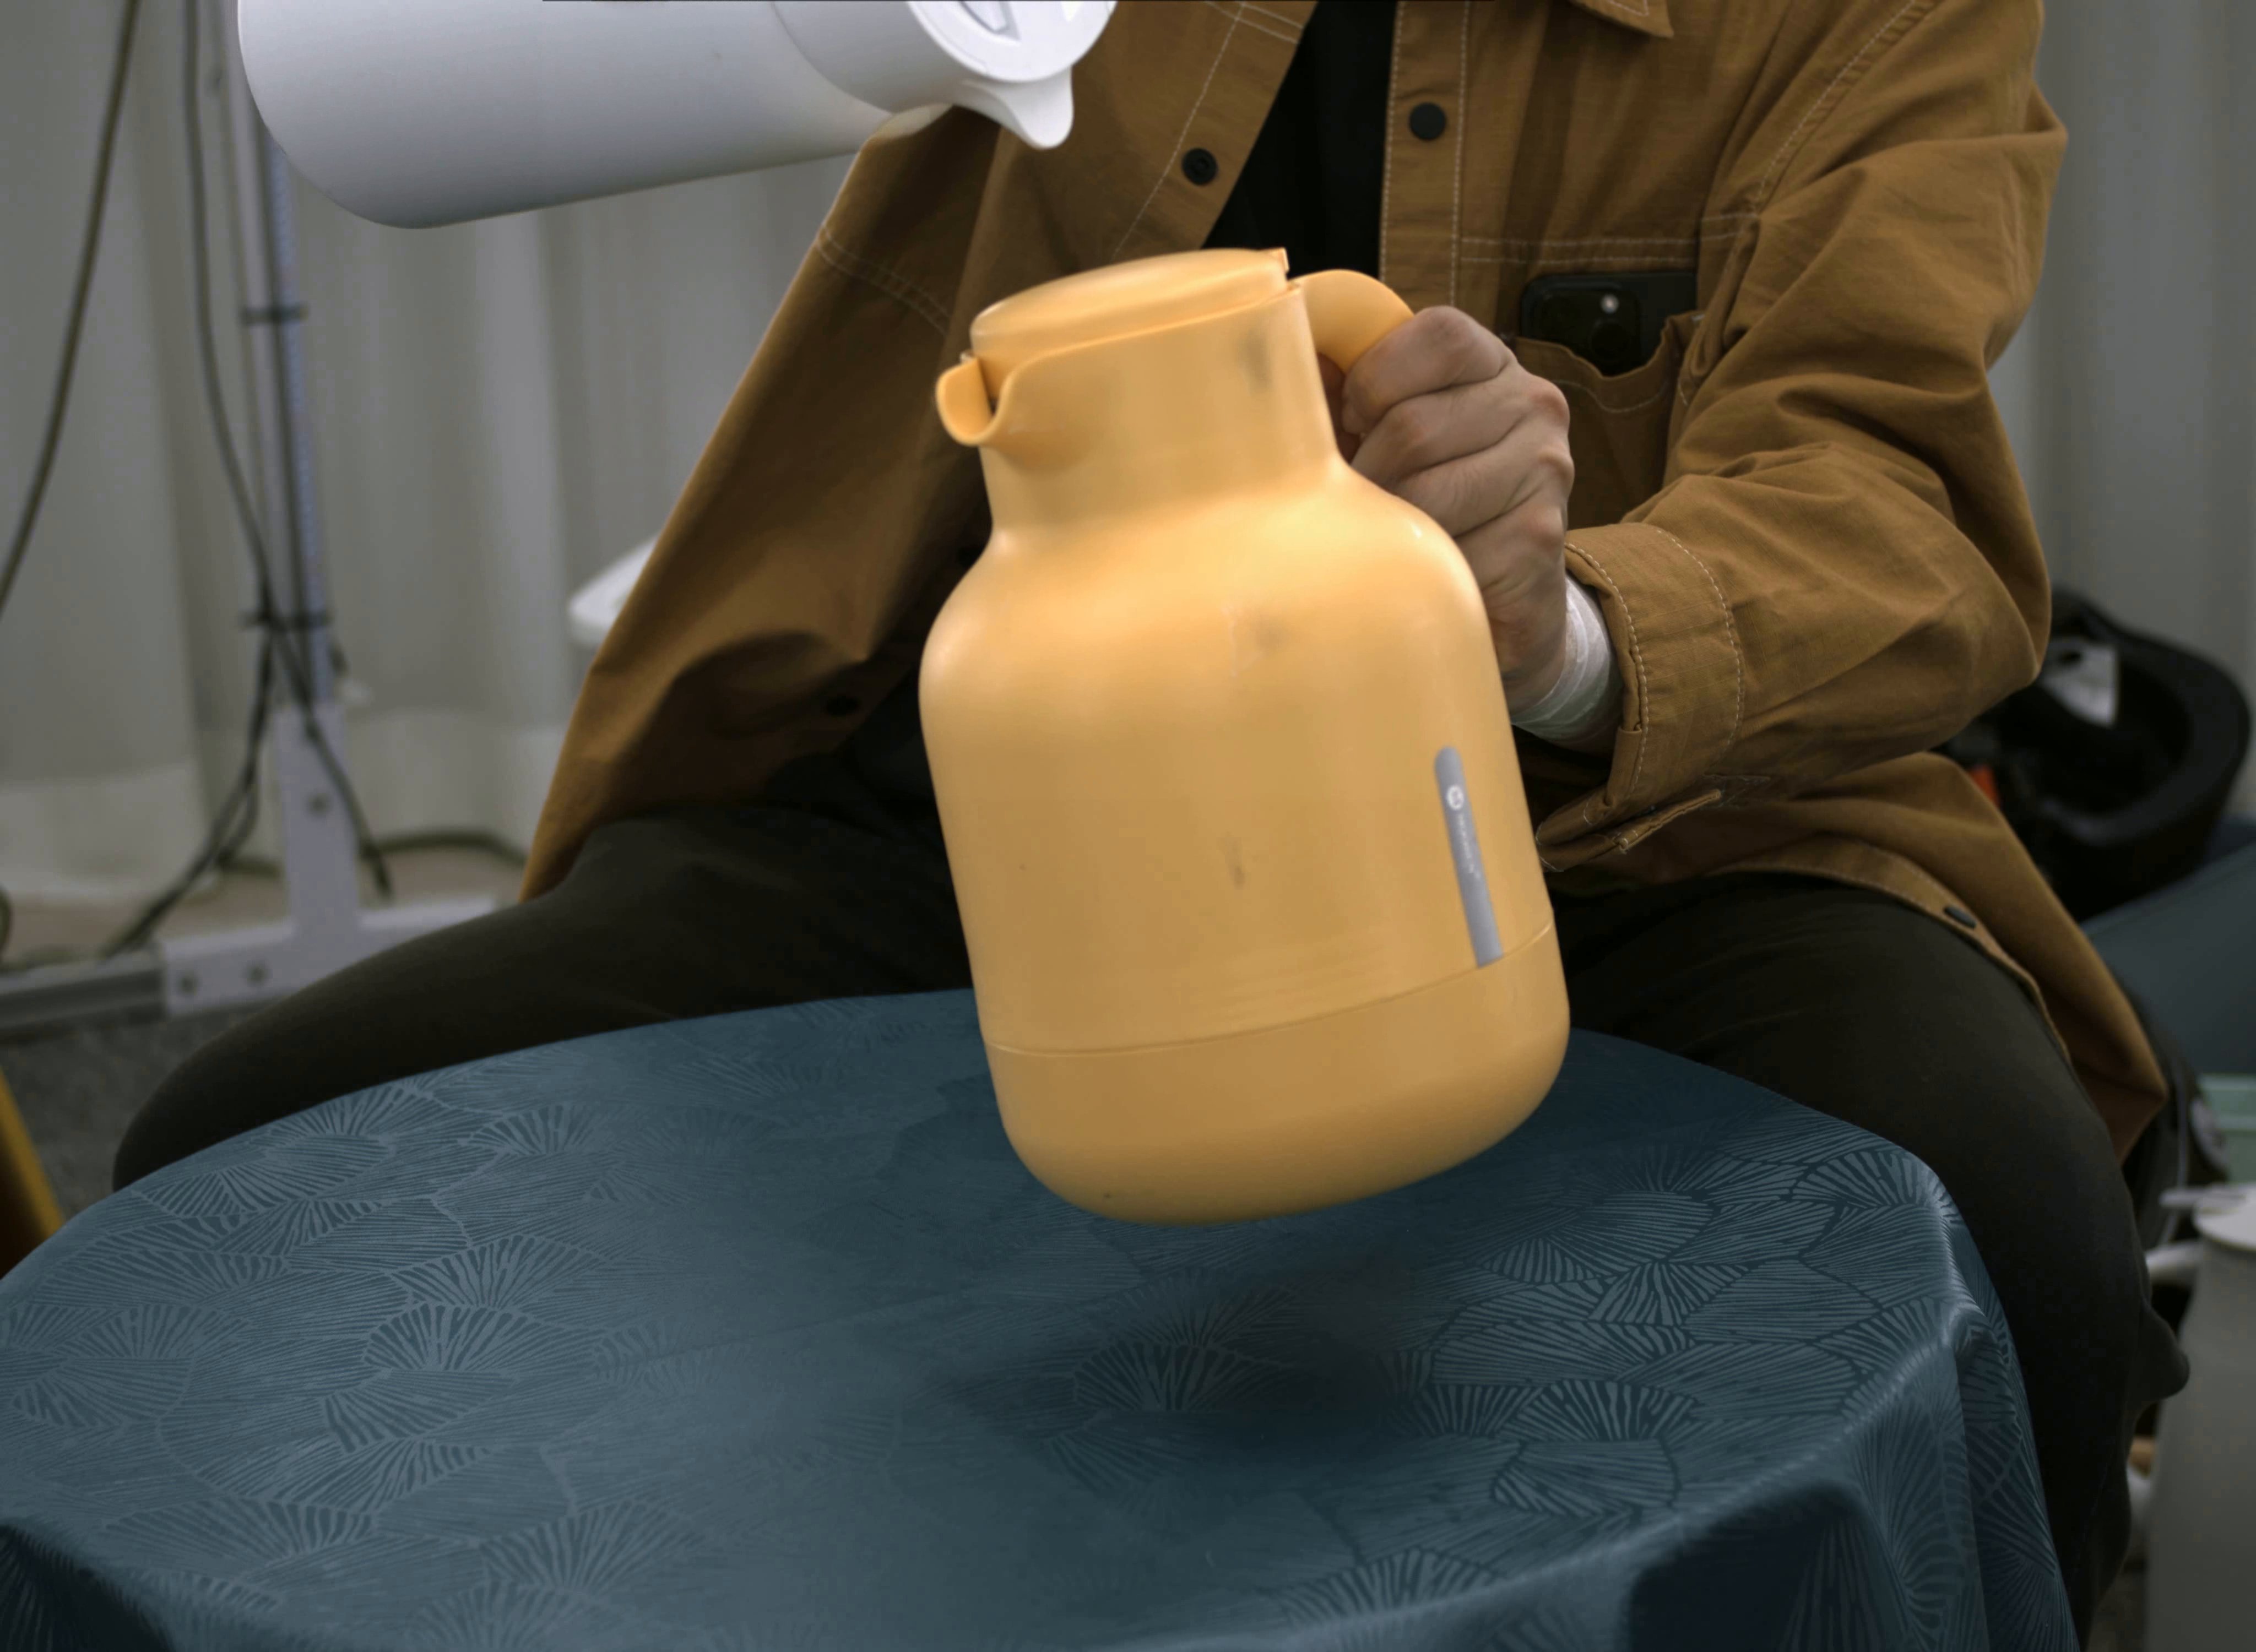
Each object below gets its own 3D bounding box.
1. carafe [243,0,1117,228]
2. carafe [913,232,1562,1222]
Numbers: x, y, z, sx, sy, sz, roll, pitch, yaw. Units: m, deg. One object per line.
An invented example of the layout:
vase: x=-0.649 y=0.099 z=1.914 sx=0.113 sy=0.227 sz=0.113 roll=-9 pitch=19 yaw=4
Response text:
carafe: x=-0.134 y=-0.258 z=1.556 sx=0.269 sy=0.172 sz=0.124 roll=-4 pitch=22 yaw=45
carafe: x=0.036 y=-0.036 z=1.531 sx=0.164 sy=0.260 sz=0.202 roll=-1 pitch=15 yaw=43
